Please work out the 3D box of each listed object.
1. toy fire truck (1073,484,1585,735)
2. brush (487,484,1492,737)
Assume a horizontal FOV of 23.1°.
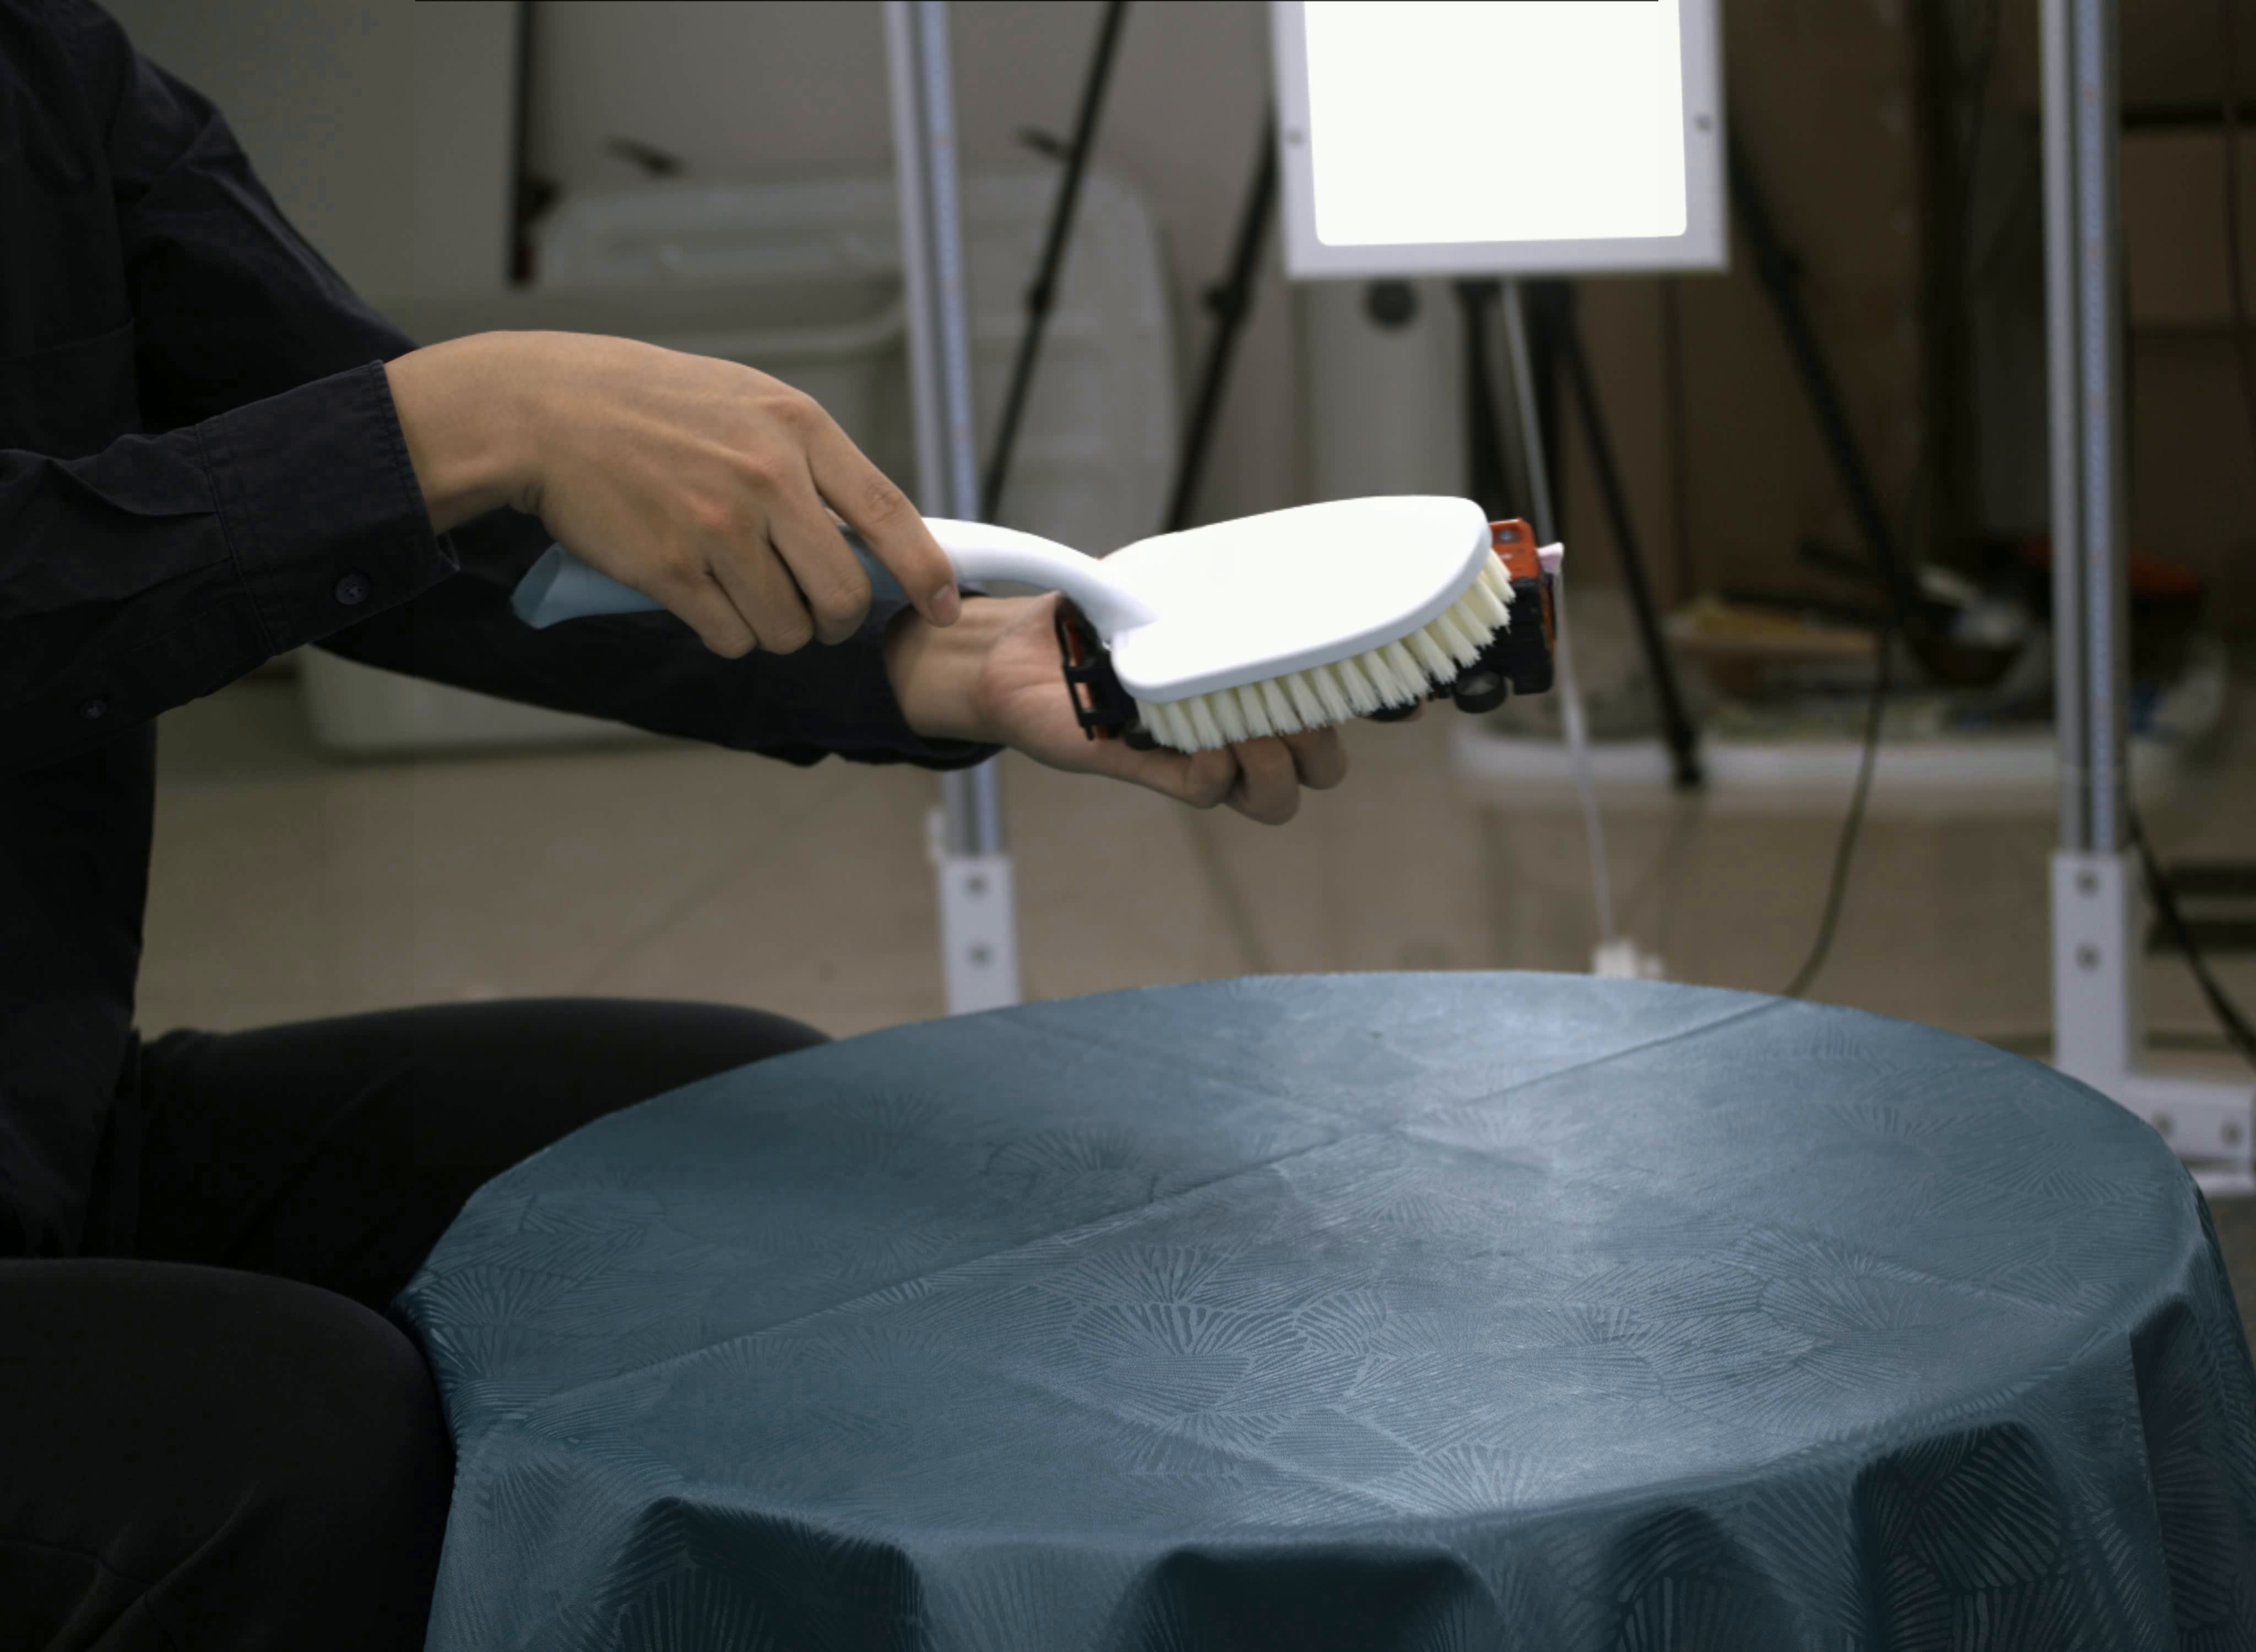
[{"bbox_3d":[0.069,-0.073,1.830,0.169,0.054,0.069,-7,35,16],"label":"toy fire truck"},{"bbox_3d":[-0.044,-0.069,1.790,0.326,0.085,0.082,-4,14,5],"label":"brush"}]
